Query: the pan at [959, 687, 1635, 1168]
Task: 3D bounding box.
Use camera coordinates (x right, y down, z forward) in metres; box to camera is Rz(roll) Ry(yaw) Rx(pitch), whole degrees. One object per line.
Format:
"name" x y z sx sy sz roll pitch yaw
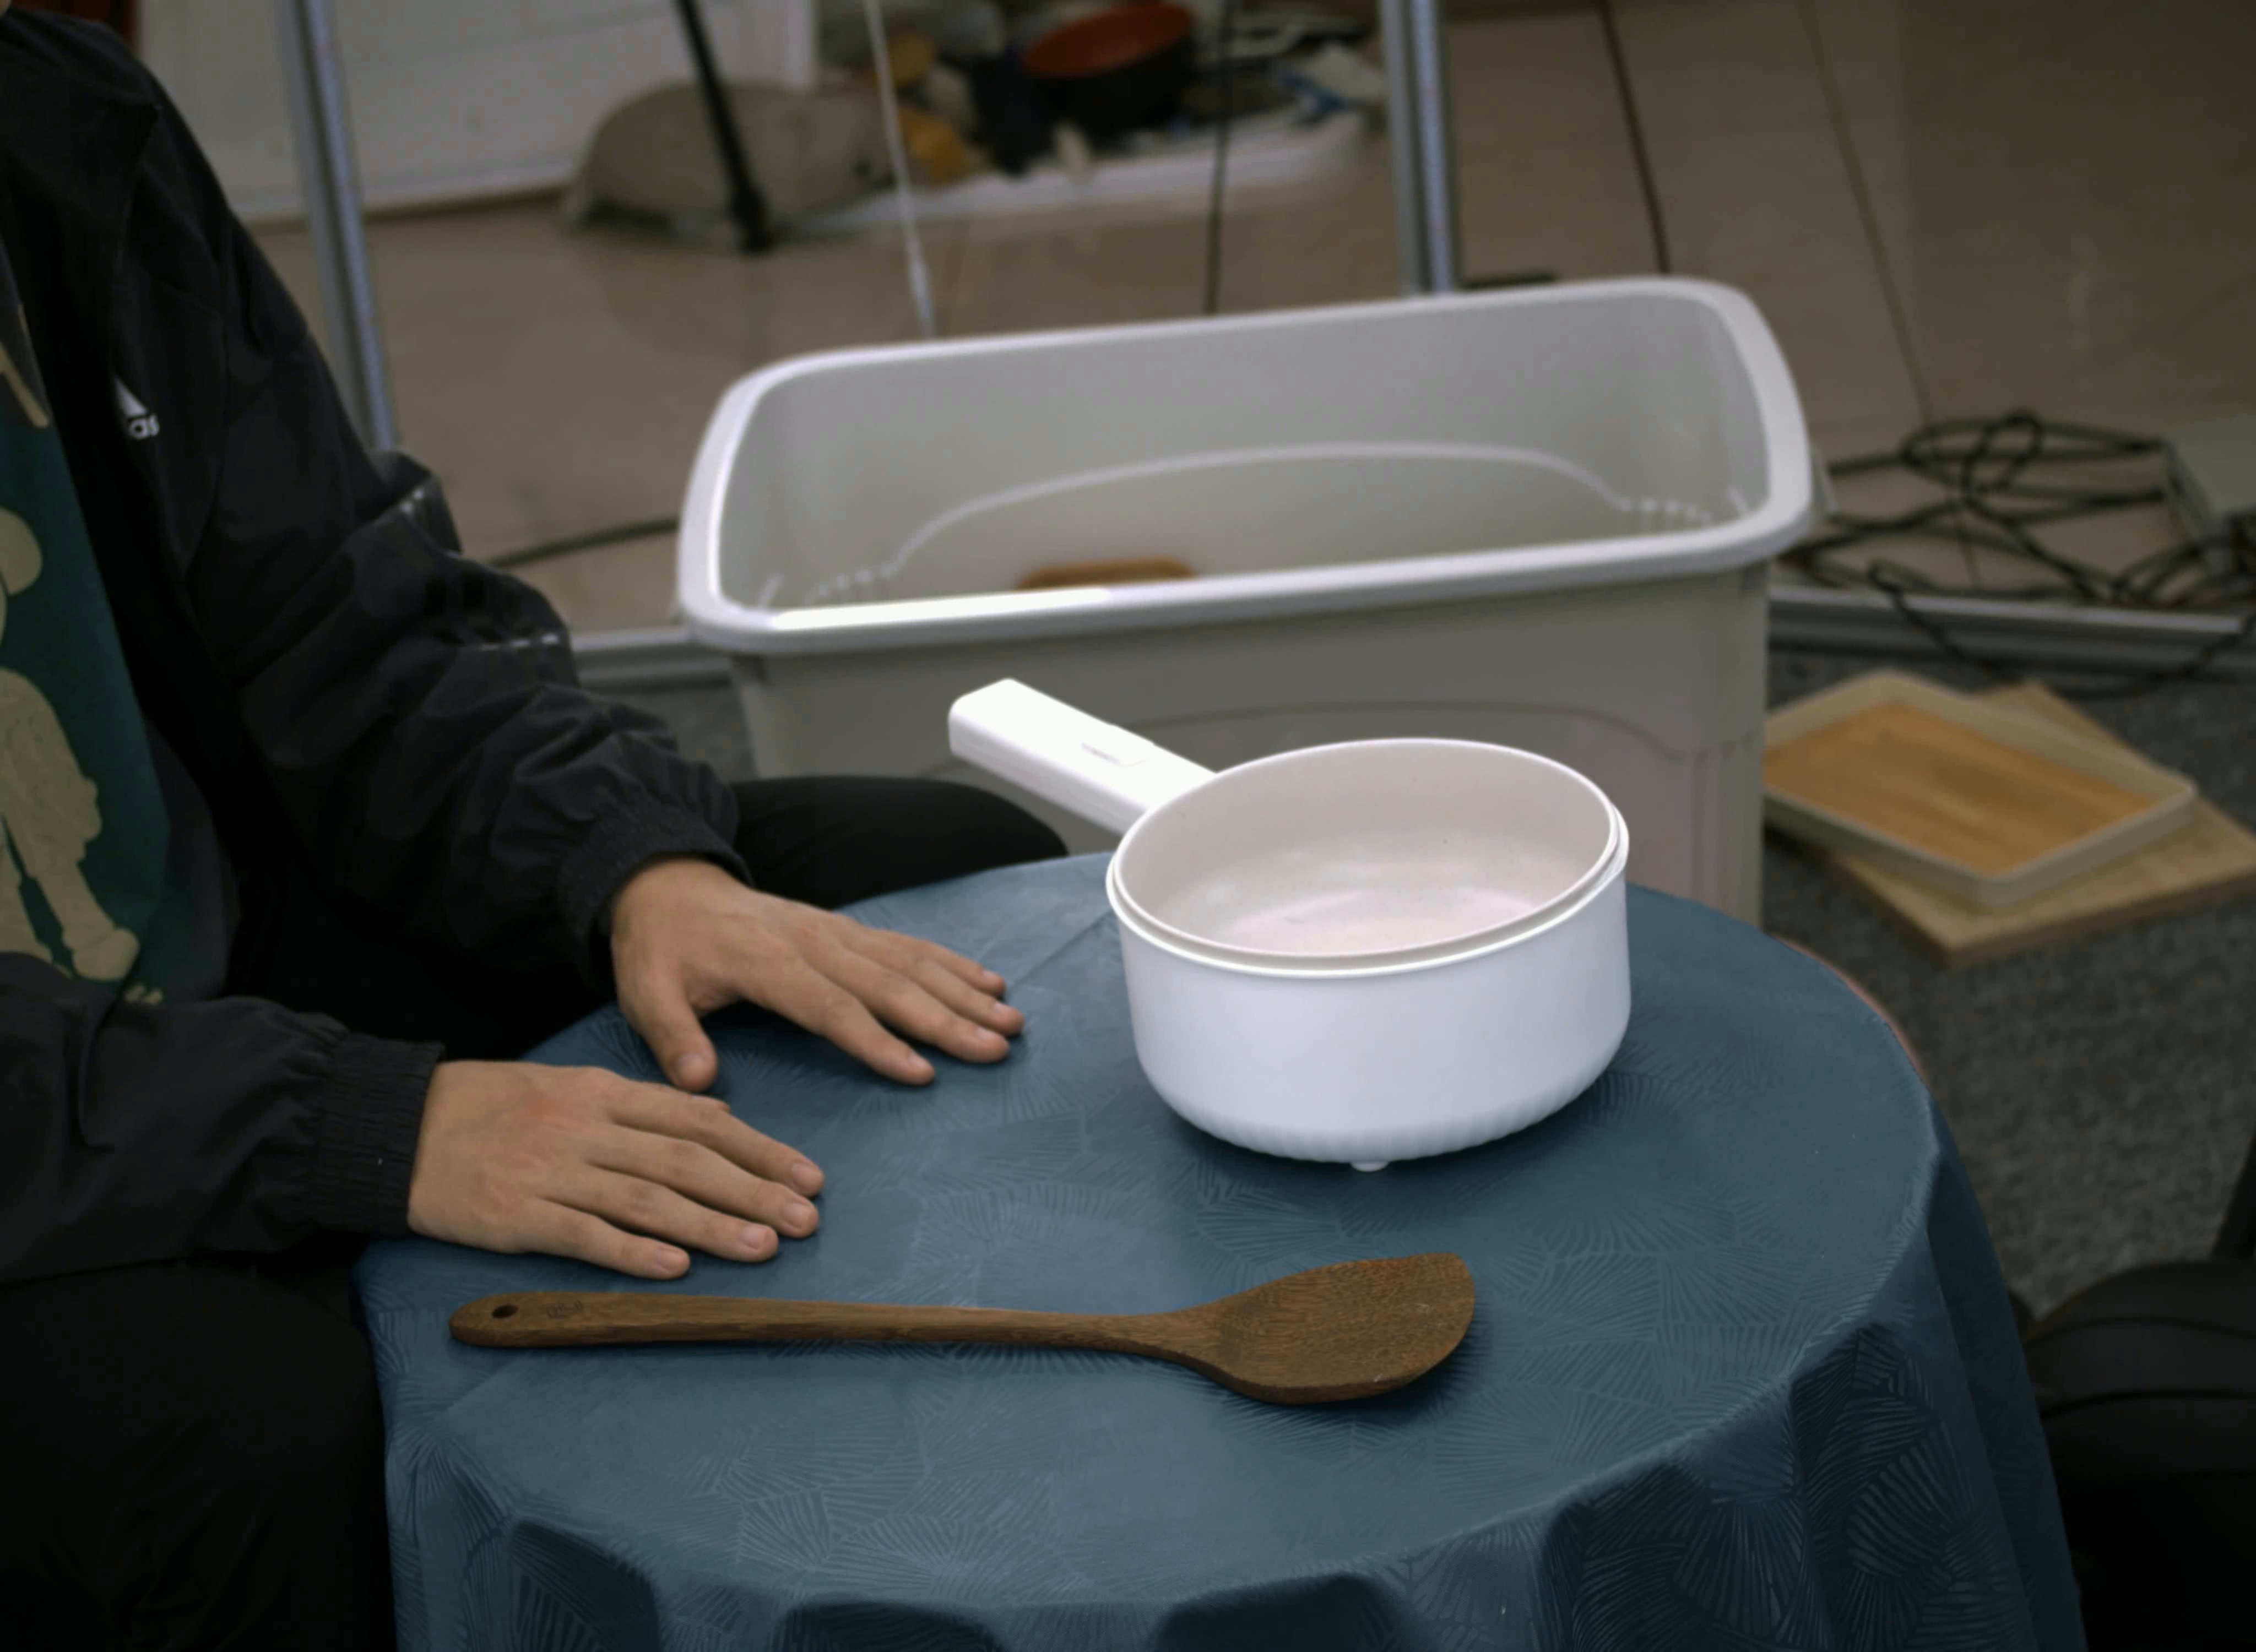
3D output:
"pan" 0.051 0.032 2.247 0.200 0.103 0.351 -23 28 -31

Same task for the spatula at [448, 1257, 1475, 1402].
"spatula" -0.065 0.181 2.056 0.385 0.016 0.095 0 25 14
